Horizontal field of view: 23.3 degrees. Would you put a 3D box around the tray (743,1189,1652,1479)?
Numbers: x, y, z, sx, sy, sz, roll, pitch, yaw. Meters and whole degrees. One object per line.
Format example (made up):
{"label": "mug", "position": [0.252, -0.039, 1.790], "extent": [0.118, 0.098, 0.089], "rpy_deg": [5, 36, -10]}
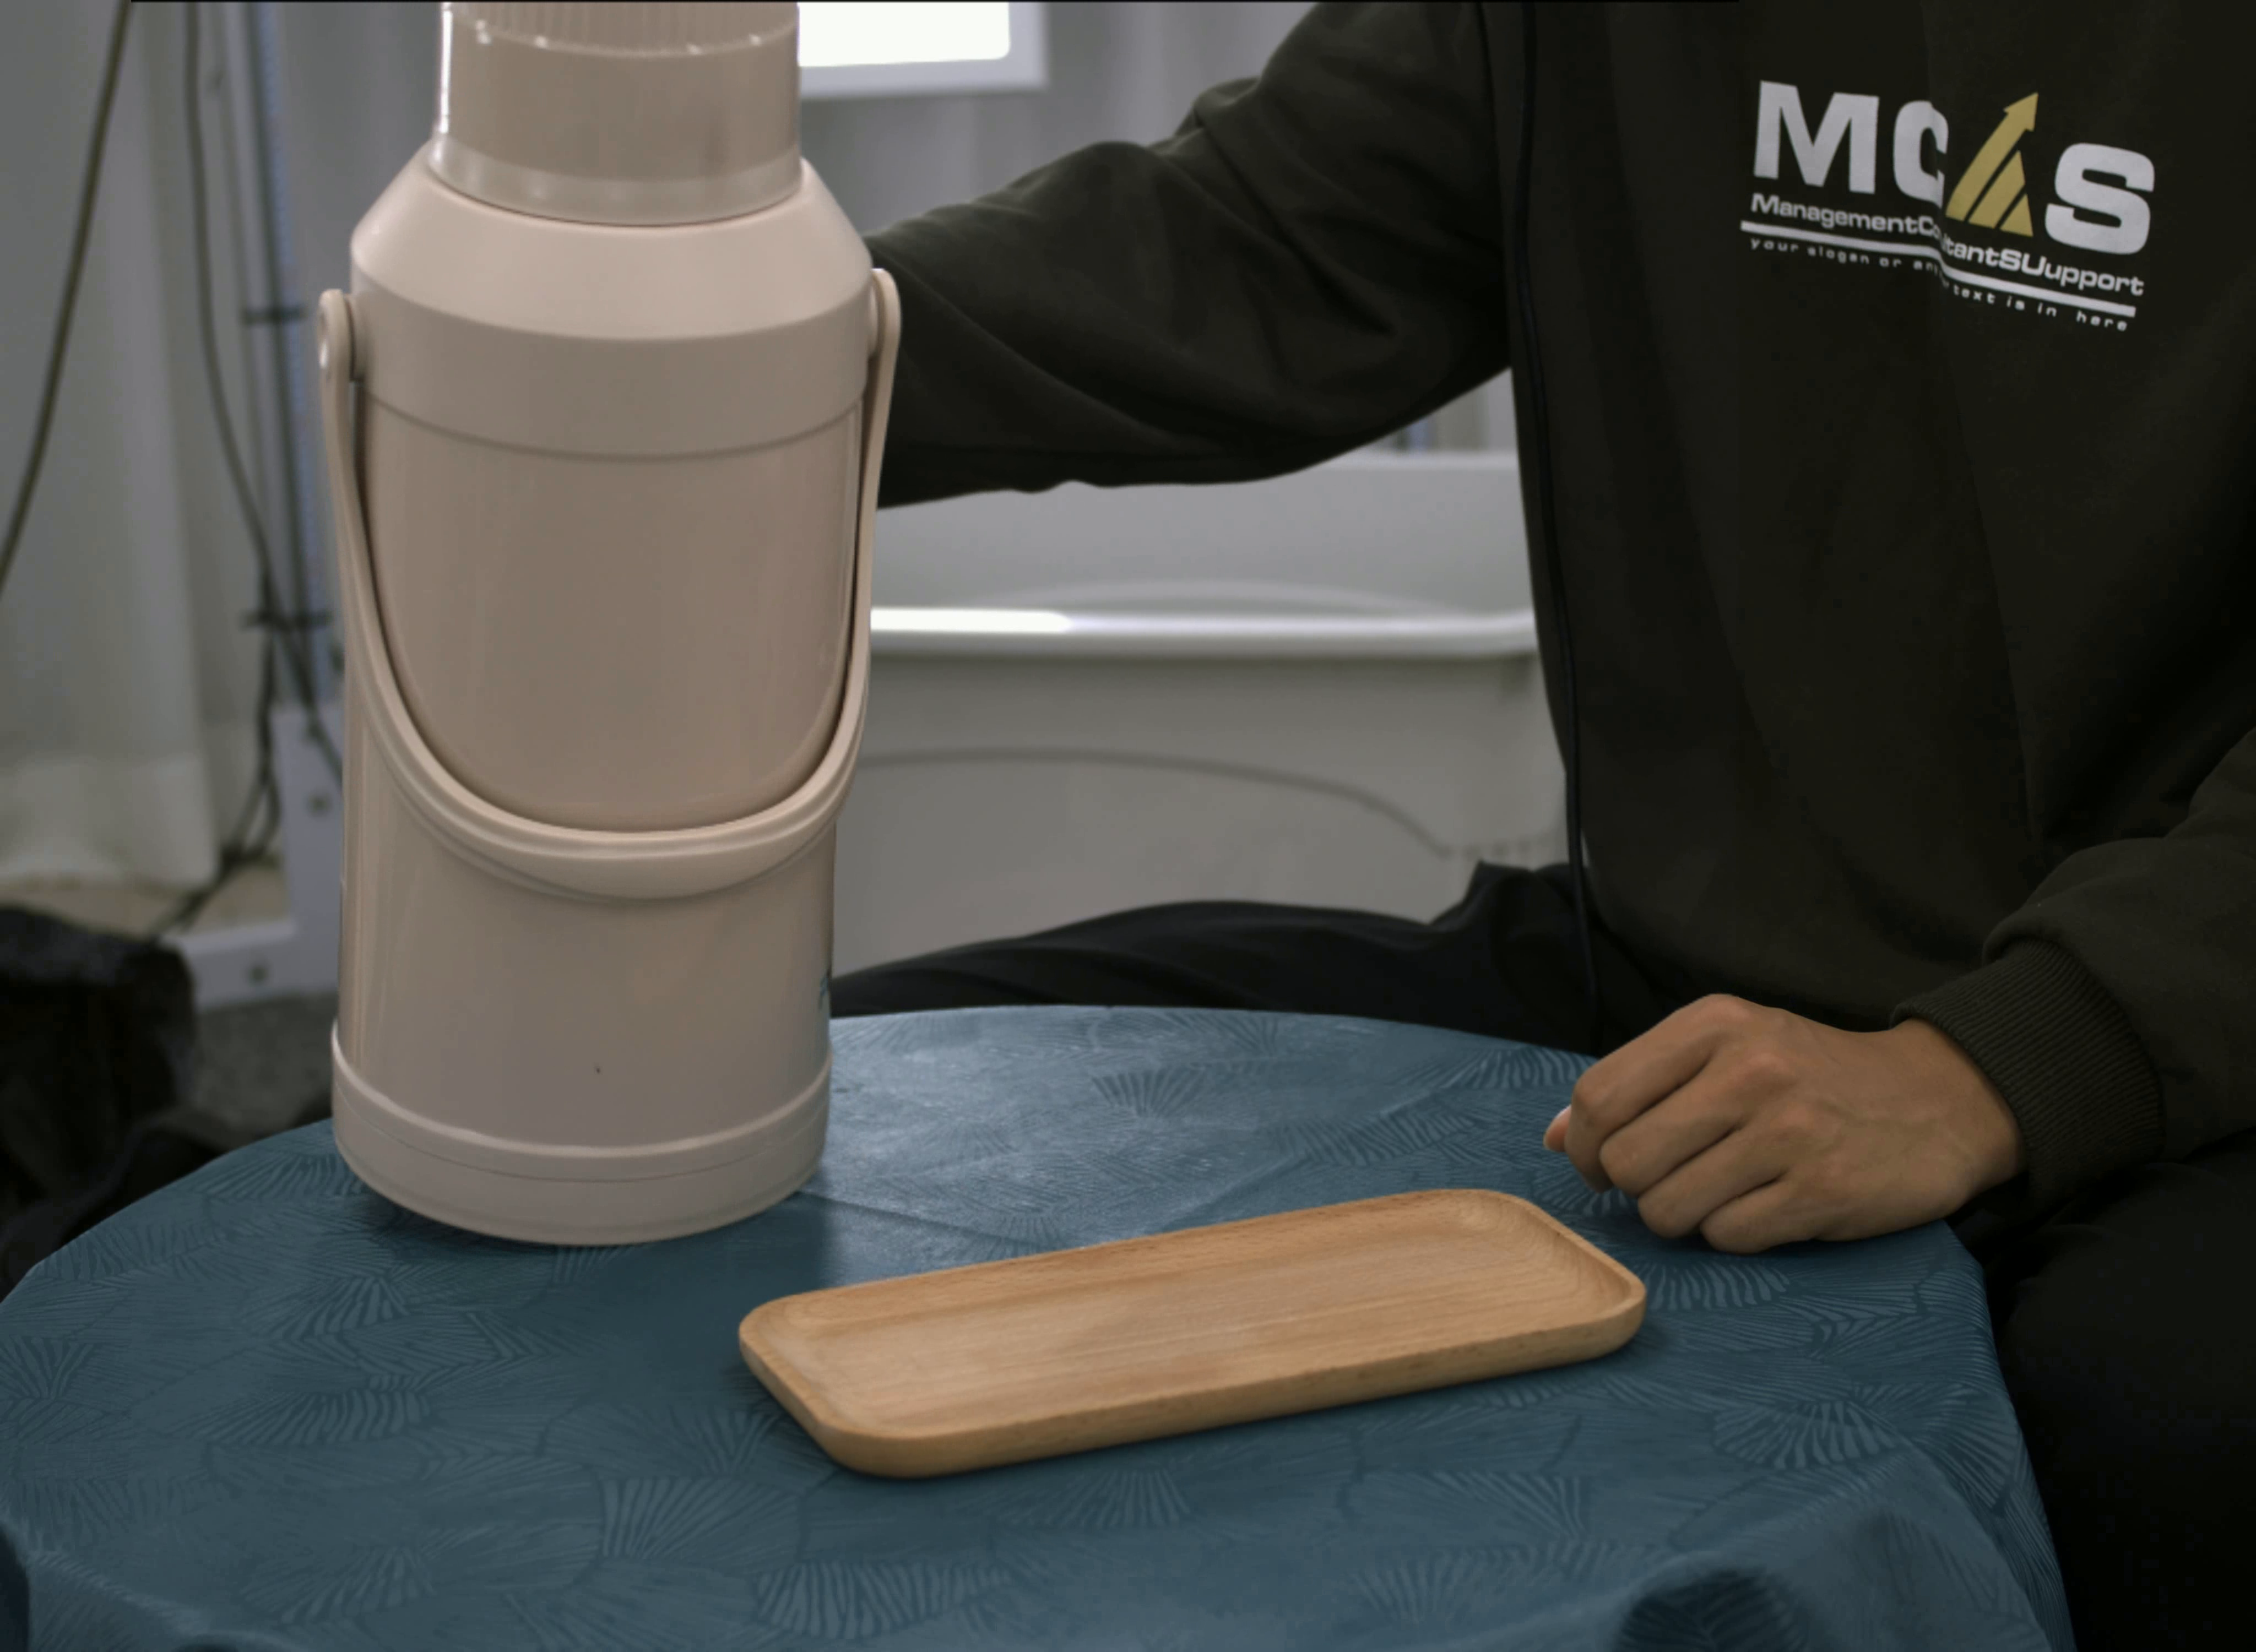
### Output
{"label": "tray", "position": [0.020, 0.145, 1.572], "extent": [0.249, 0.023, 0.132], "rpy_deg": [-7, 18, -18]}

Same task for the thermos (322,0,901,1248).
{"label": "thermos", "position": [-0.163, -0.088, 1.694], "extent": [0.174, 0.403, 0.209], "rpy_deg": [-5, 24, -18]}
